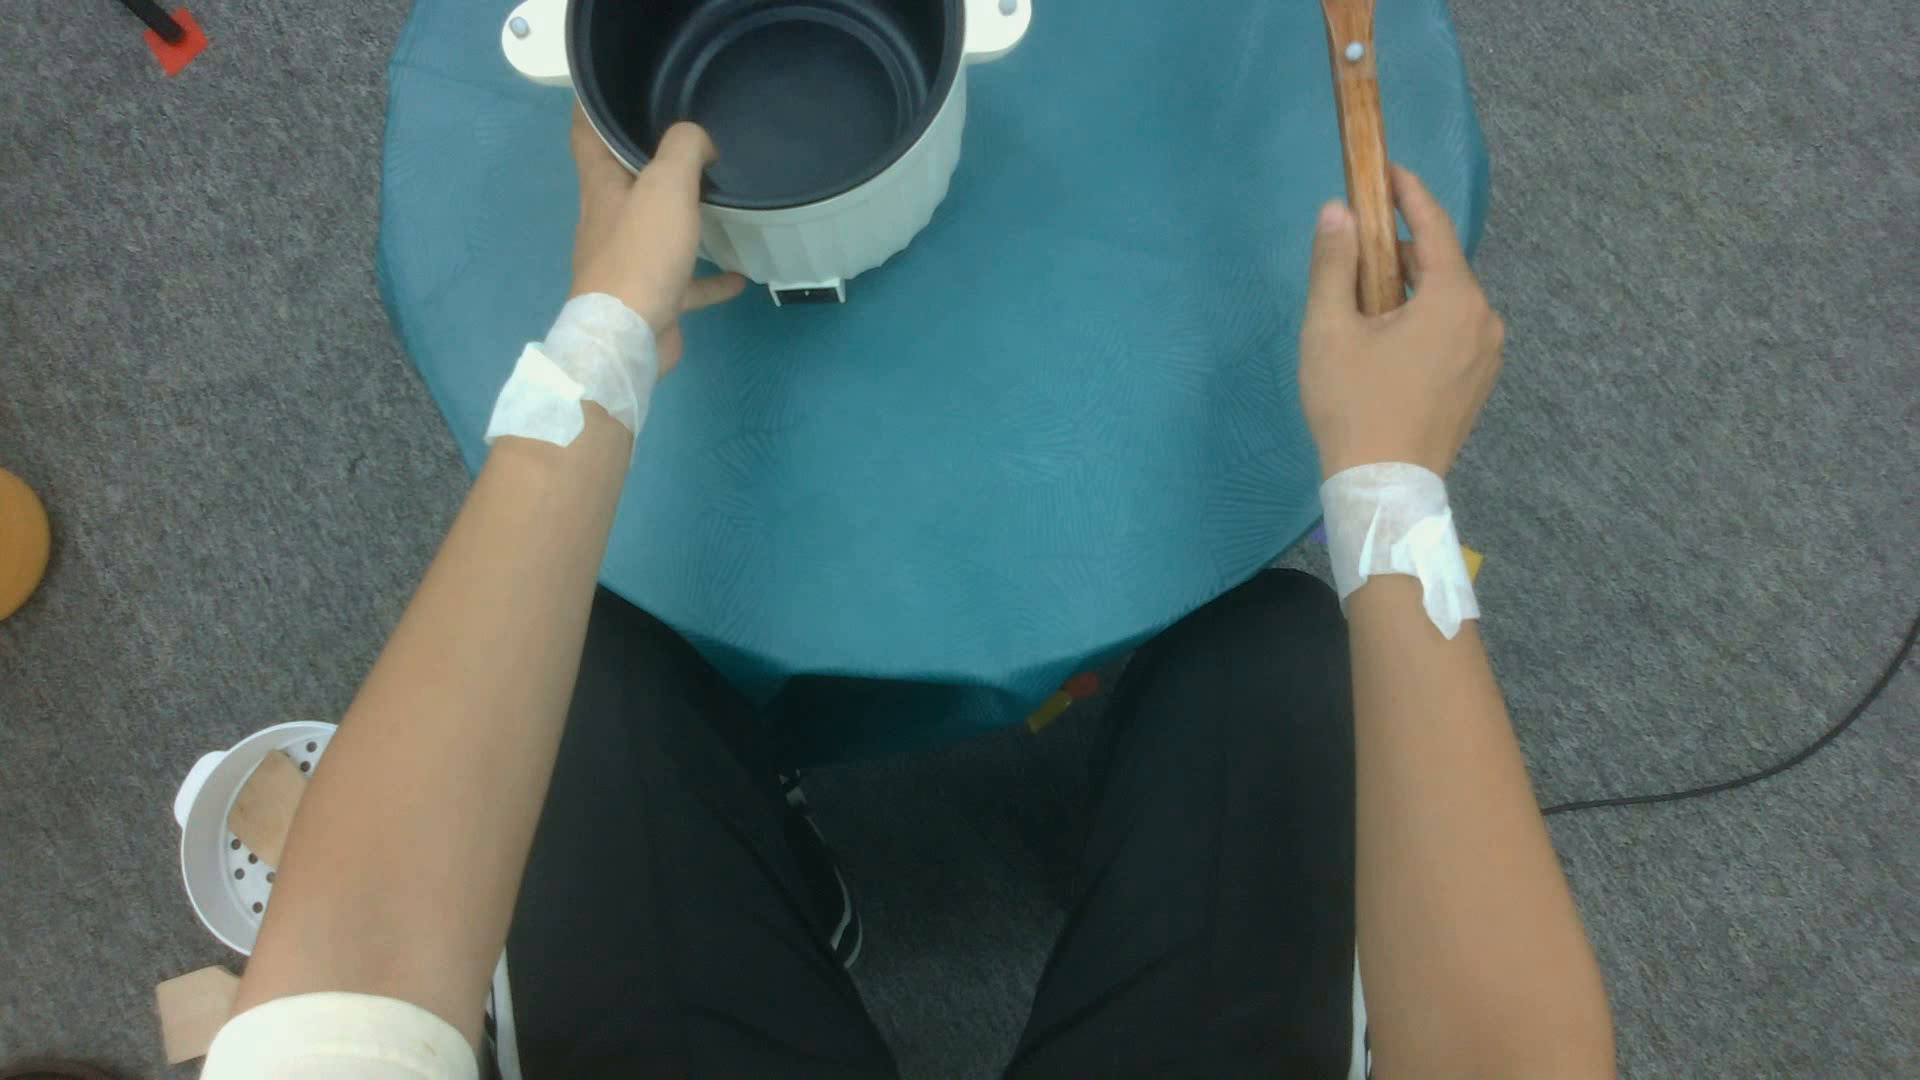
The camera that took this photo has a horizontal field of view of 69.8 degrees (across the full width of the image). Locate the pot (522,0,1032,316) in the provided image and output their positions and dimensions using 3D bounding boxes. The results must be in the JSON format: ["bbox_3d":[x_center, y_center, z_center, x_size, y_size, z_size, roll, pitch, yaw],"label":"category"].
[{"bbox_3d":[-0.086,-0.225,0.706,0.240,0.142,0.190,-4,82,0],"label":"pot"}]

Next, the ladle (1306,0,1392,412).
[{"bbox_3d":[0.176,-0.198,0.609,0.082,0.076,0.274,-4,83,11],"label":"ladle"}]
